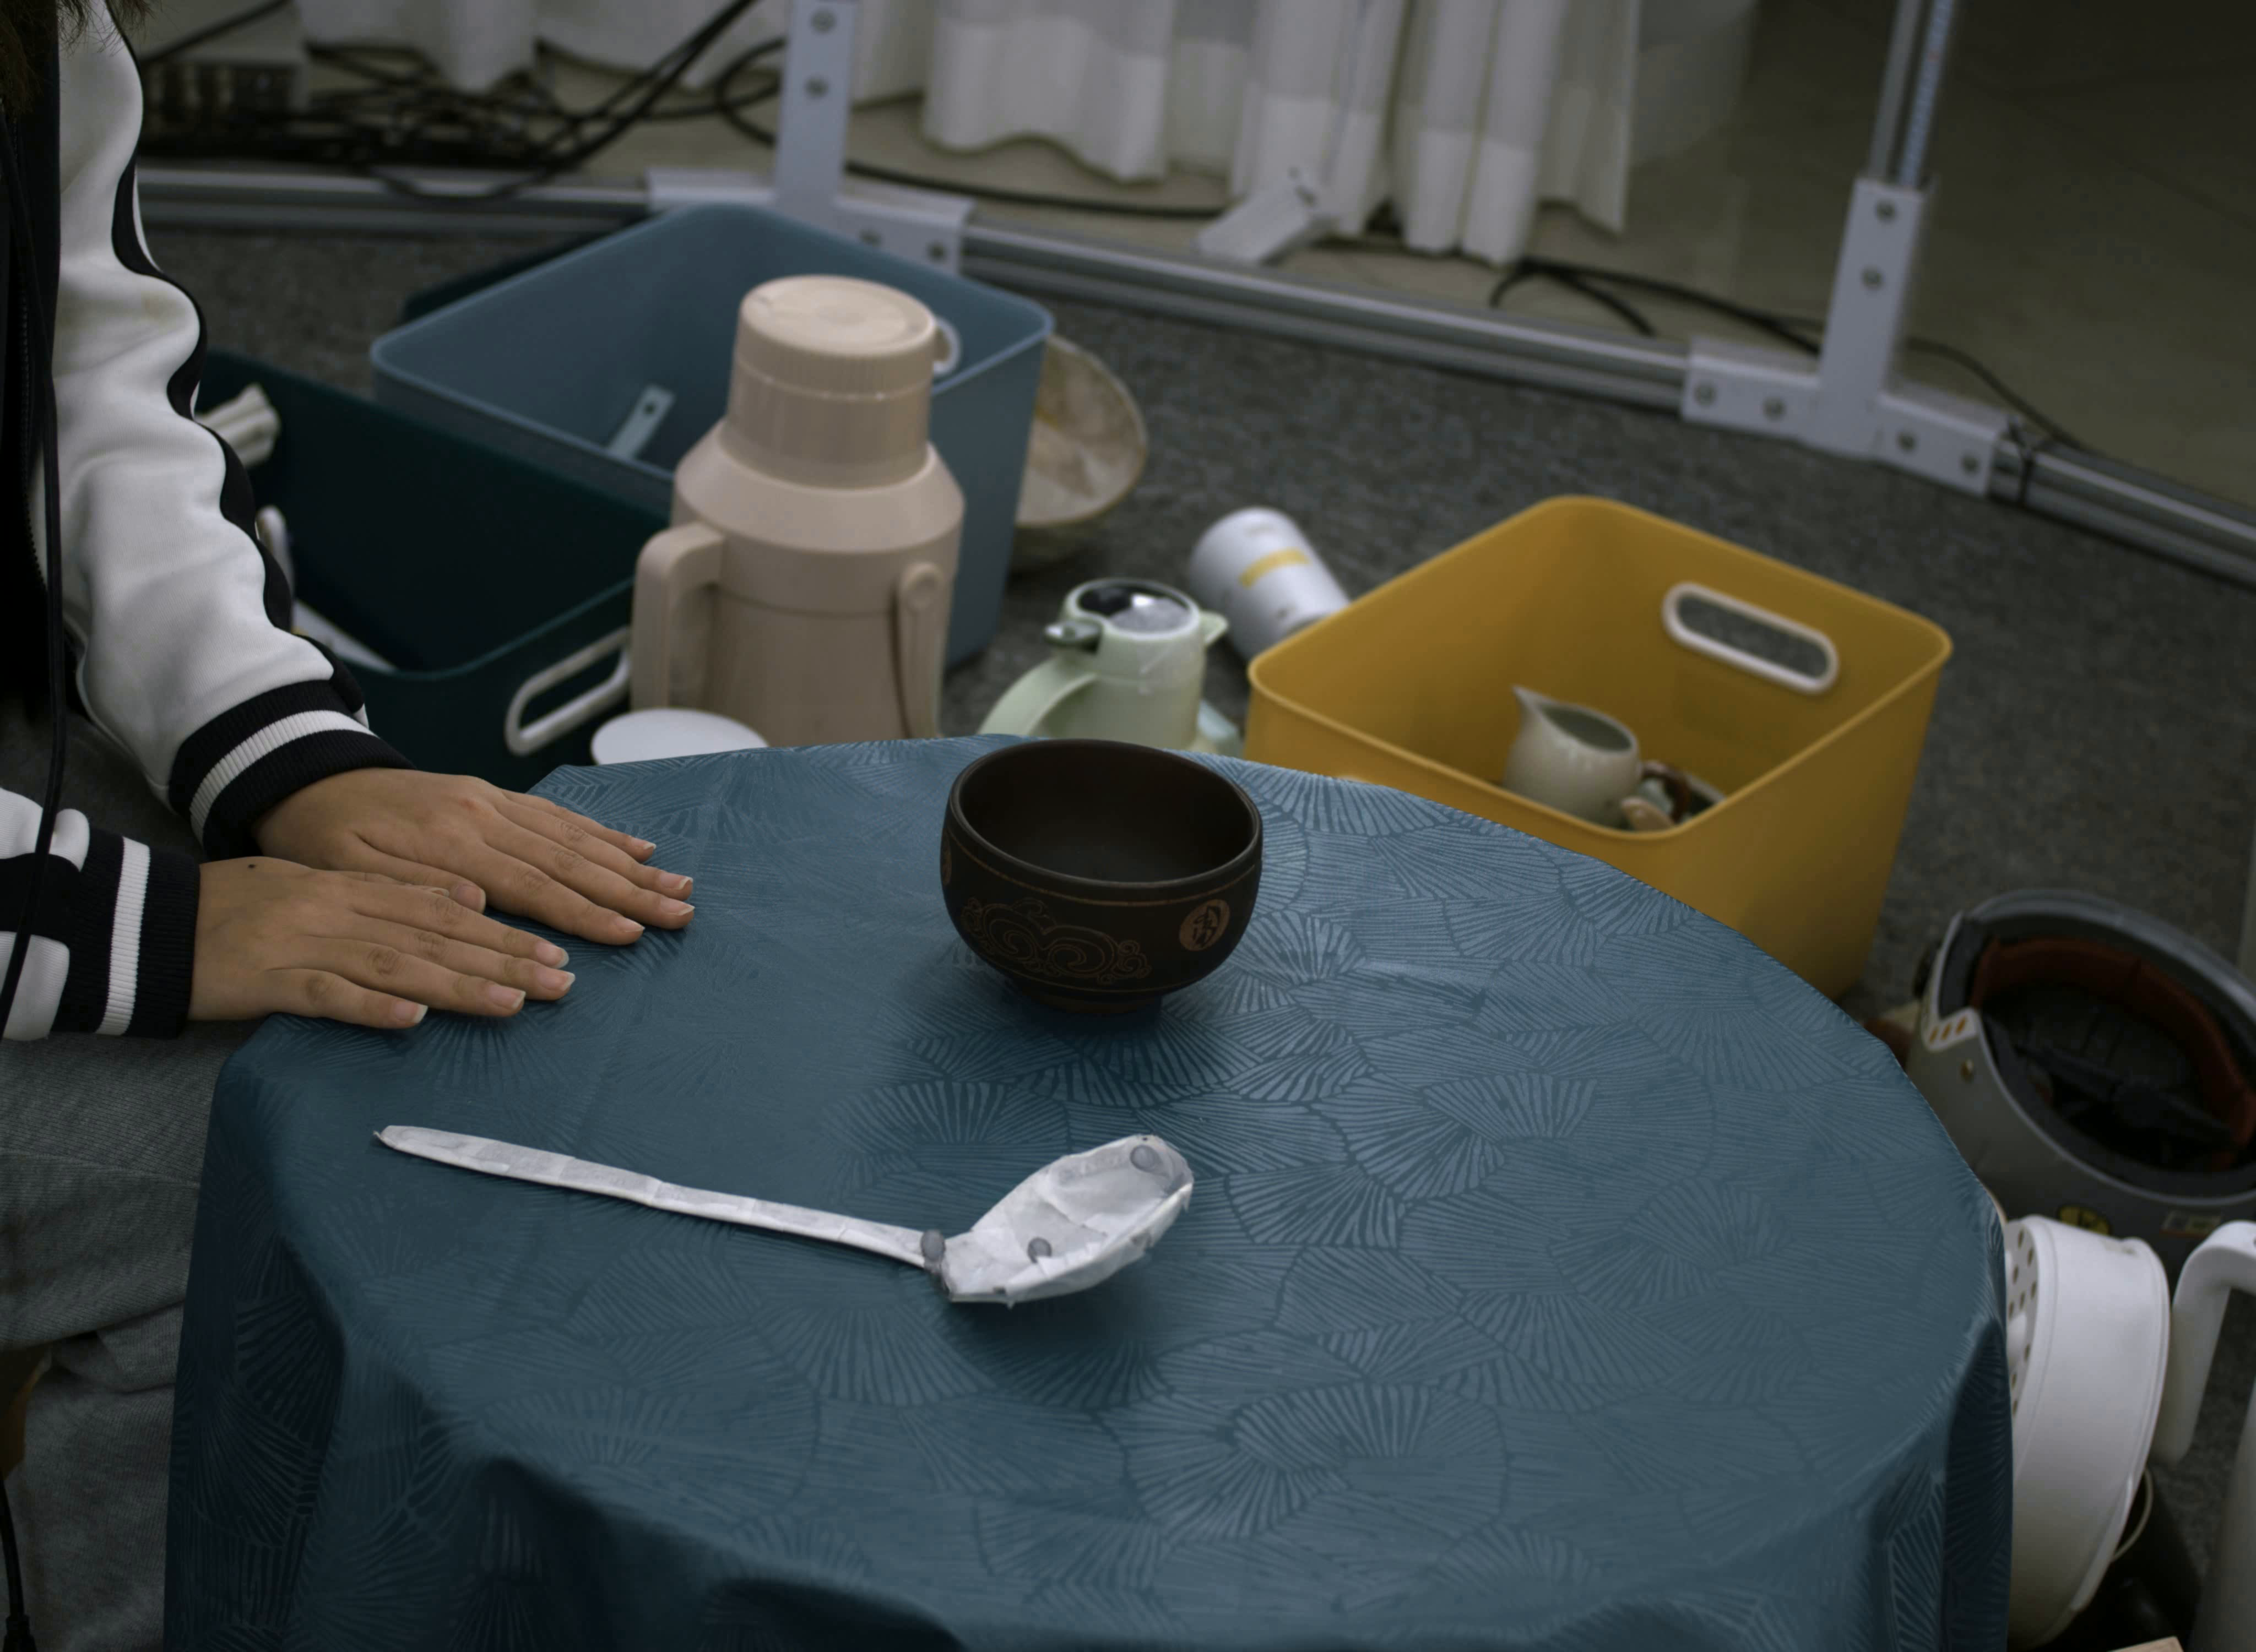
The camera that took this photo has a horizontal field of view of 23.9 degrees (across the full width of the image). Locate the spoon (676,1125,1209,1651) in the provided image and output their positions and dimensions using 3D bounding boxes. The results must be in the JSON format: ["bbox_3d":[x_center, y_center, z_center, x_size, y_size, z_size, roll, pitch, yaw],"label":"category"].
[{"bbox_3d":[-0.071,0.207,1.744,0.059,0.277,0.101,32,1,-11],"label":"spoon"}]

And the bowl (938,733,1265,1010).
[{"bbox_3d":[-0.011,0.023,1.917,0.117,0.069,0.119,5,26,-3],"label":"bowl"}]
